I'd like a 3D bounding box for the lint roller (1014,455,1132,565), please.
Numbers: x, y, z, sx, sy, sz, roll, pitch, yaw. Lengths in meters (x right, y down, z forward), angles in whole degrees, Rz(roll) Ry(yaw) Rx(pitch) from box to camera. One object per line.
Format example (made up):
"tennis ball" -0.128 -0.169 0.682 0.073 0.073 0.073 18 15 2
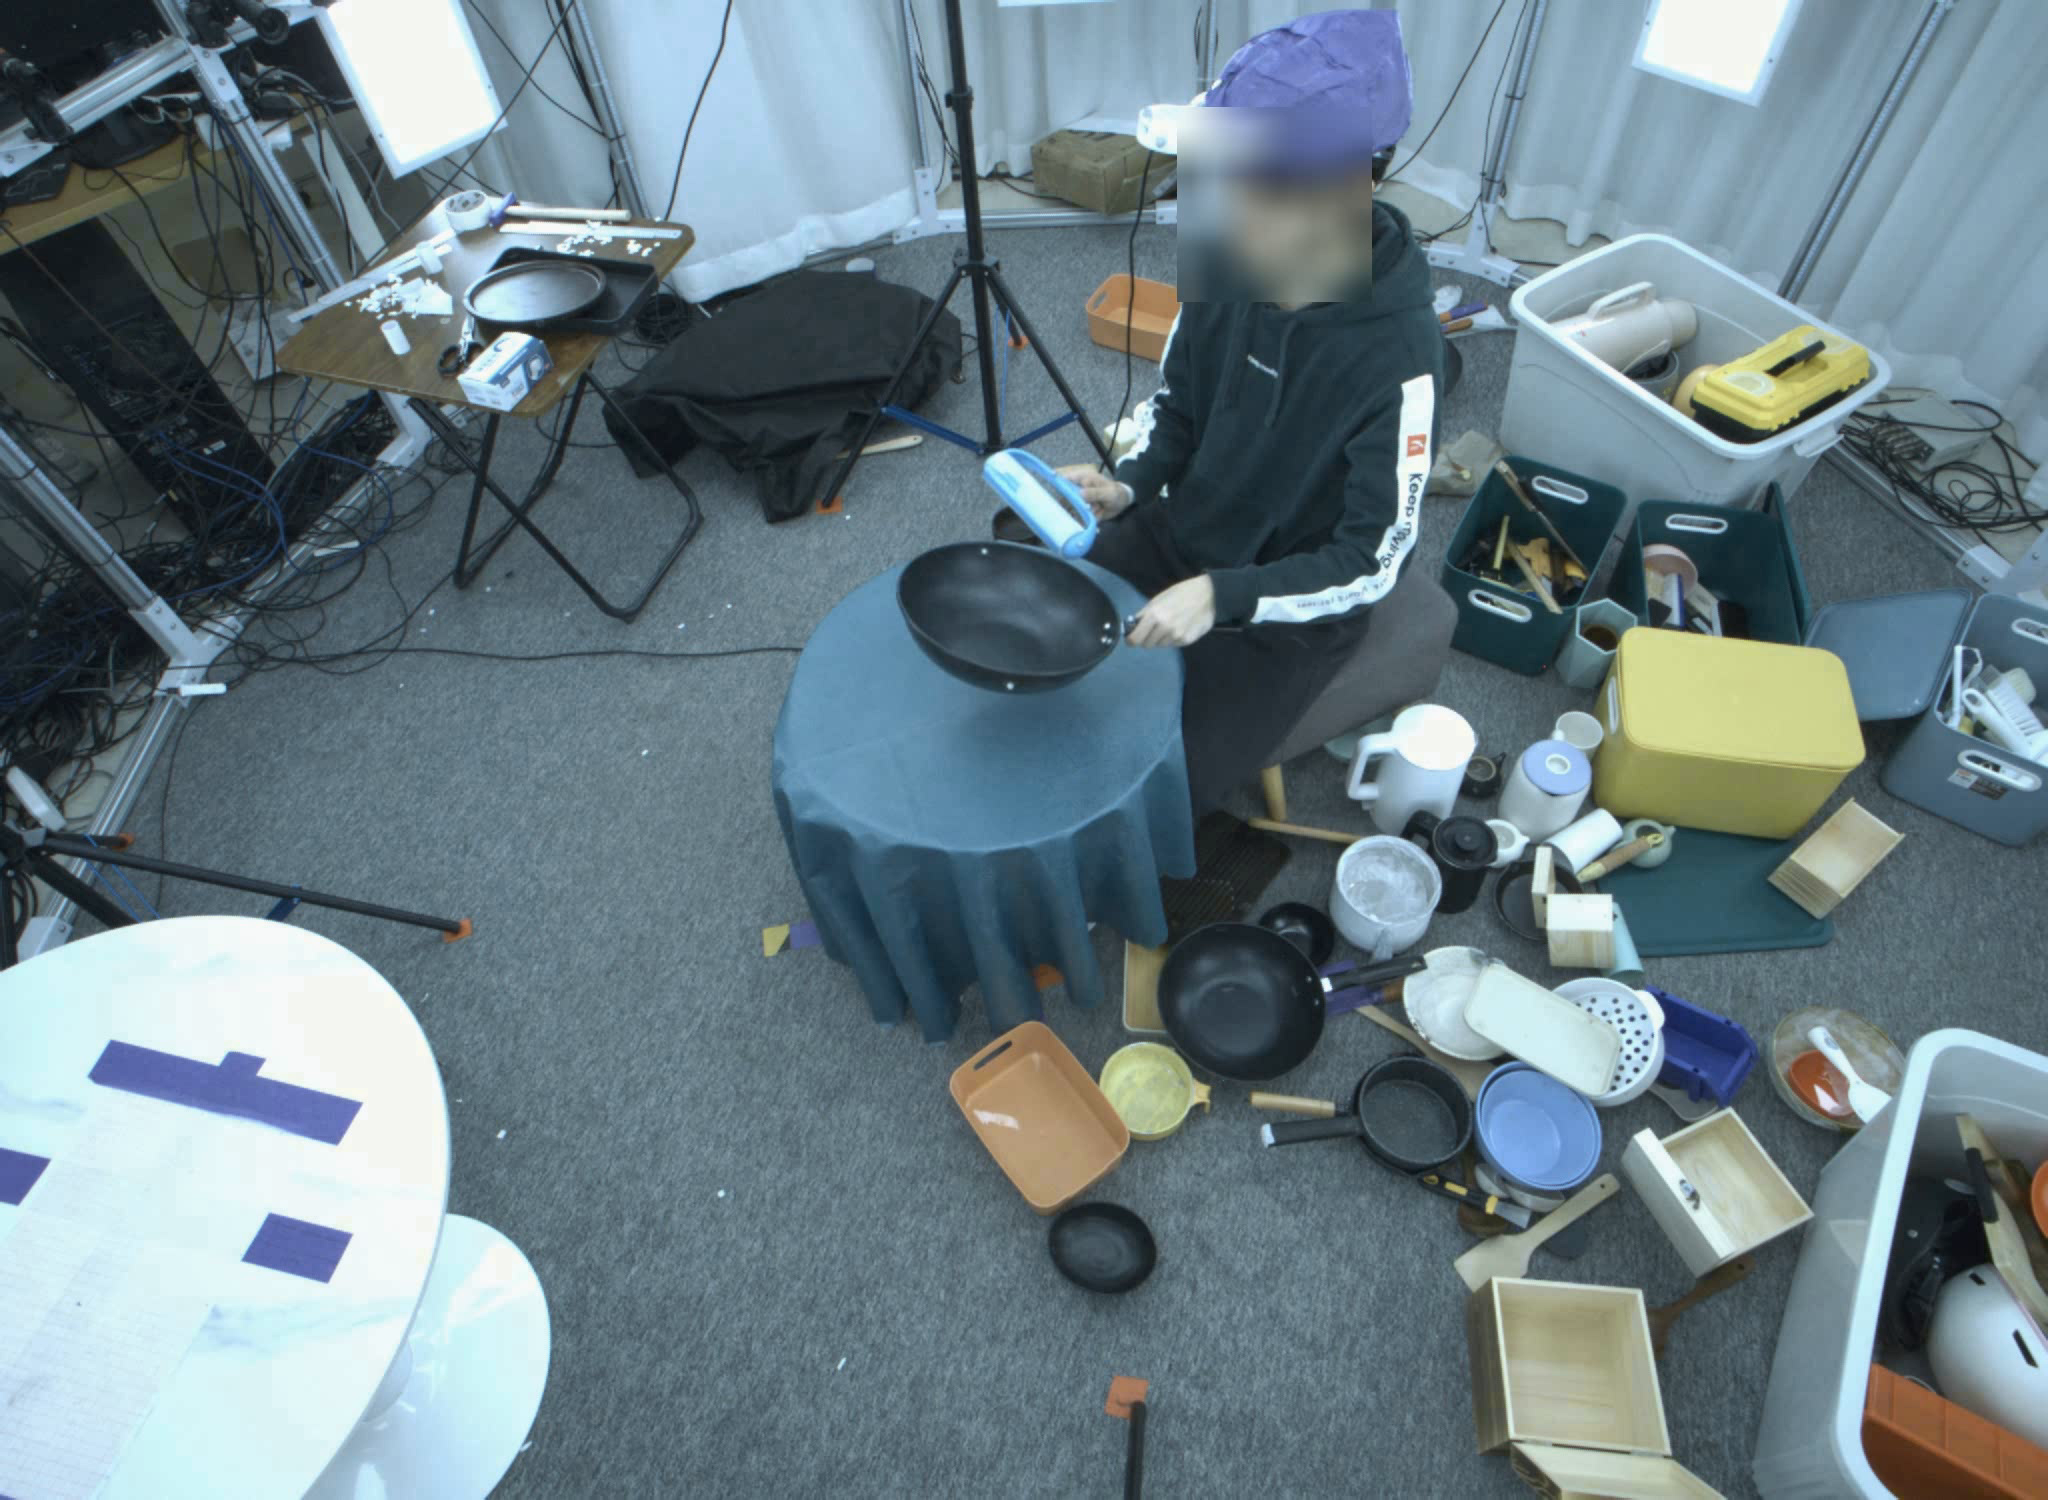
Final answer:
"lint roller" 0.103 -0.359 1.814 0.183 0.068 0.225 -17 56 -45

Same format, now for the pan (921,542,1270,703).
"pan" 0.091 -0.156 1.676 0.481 0.112 0.306 9 42 -10
